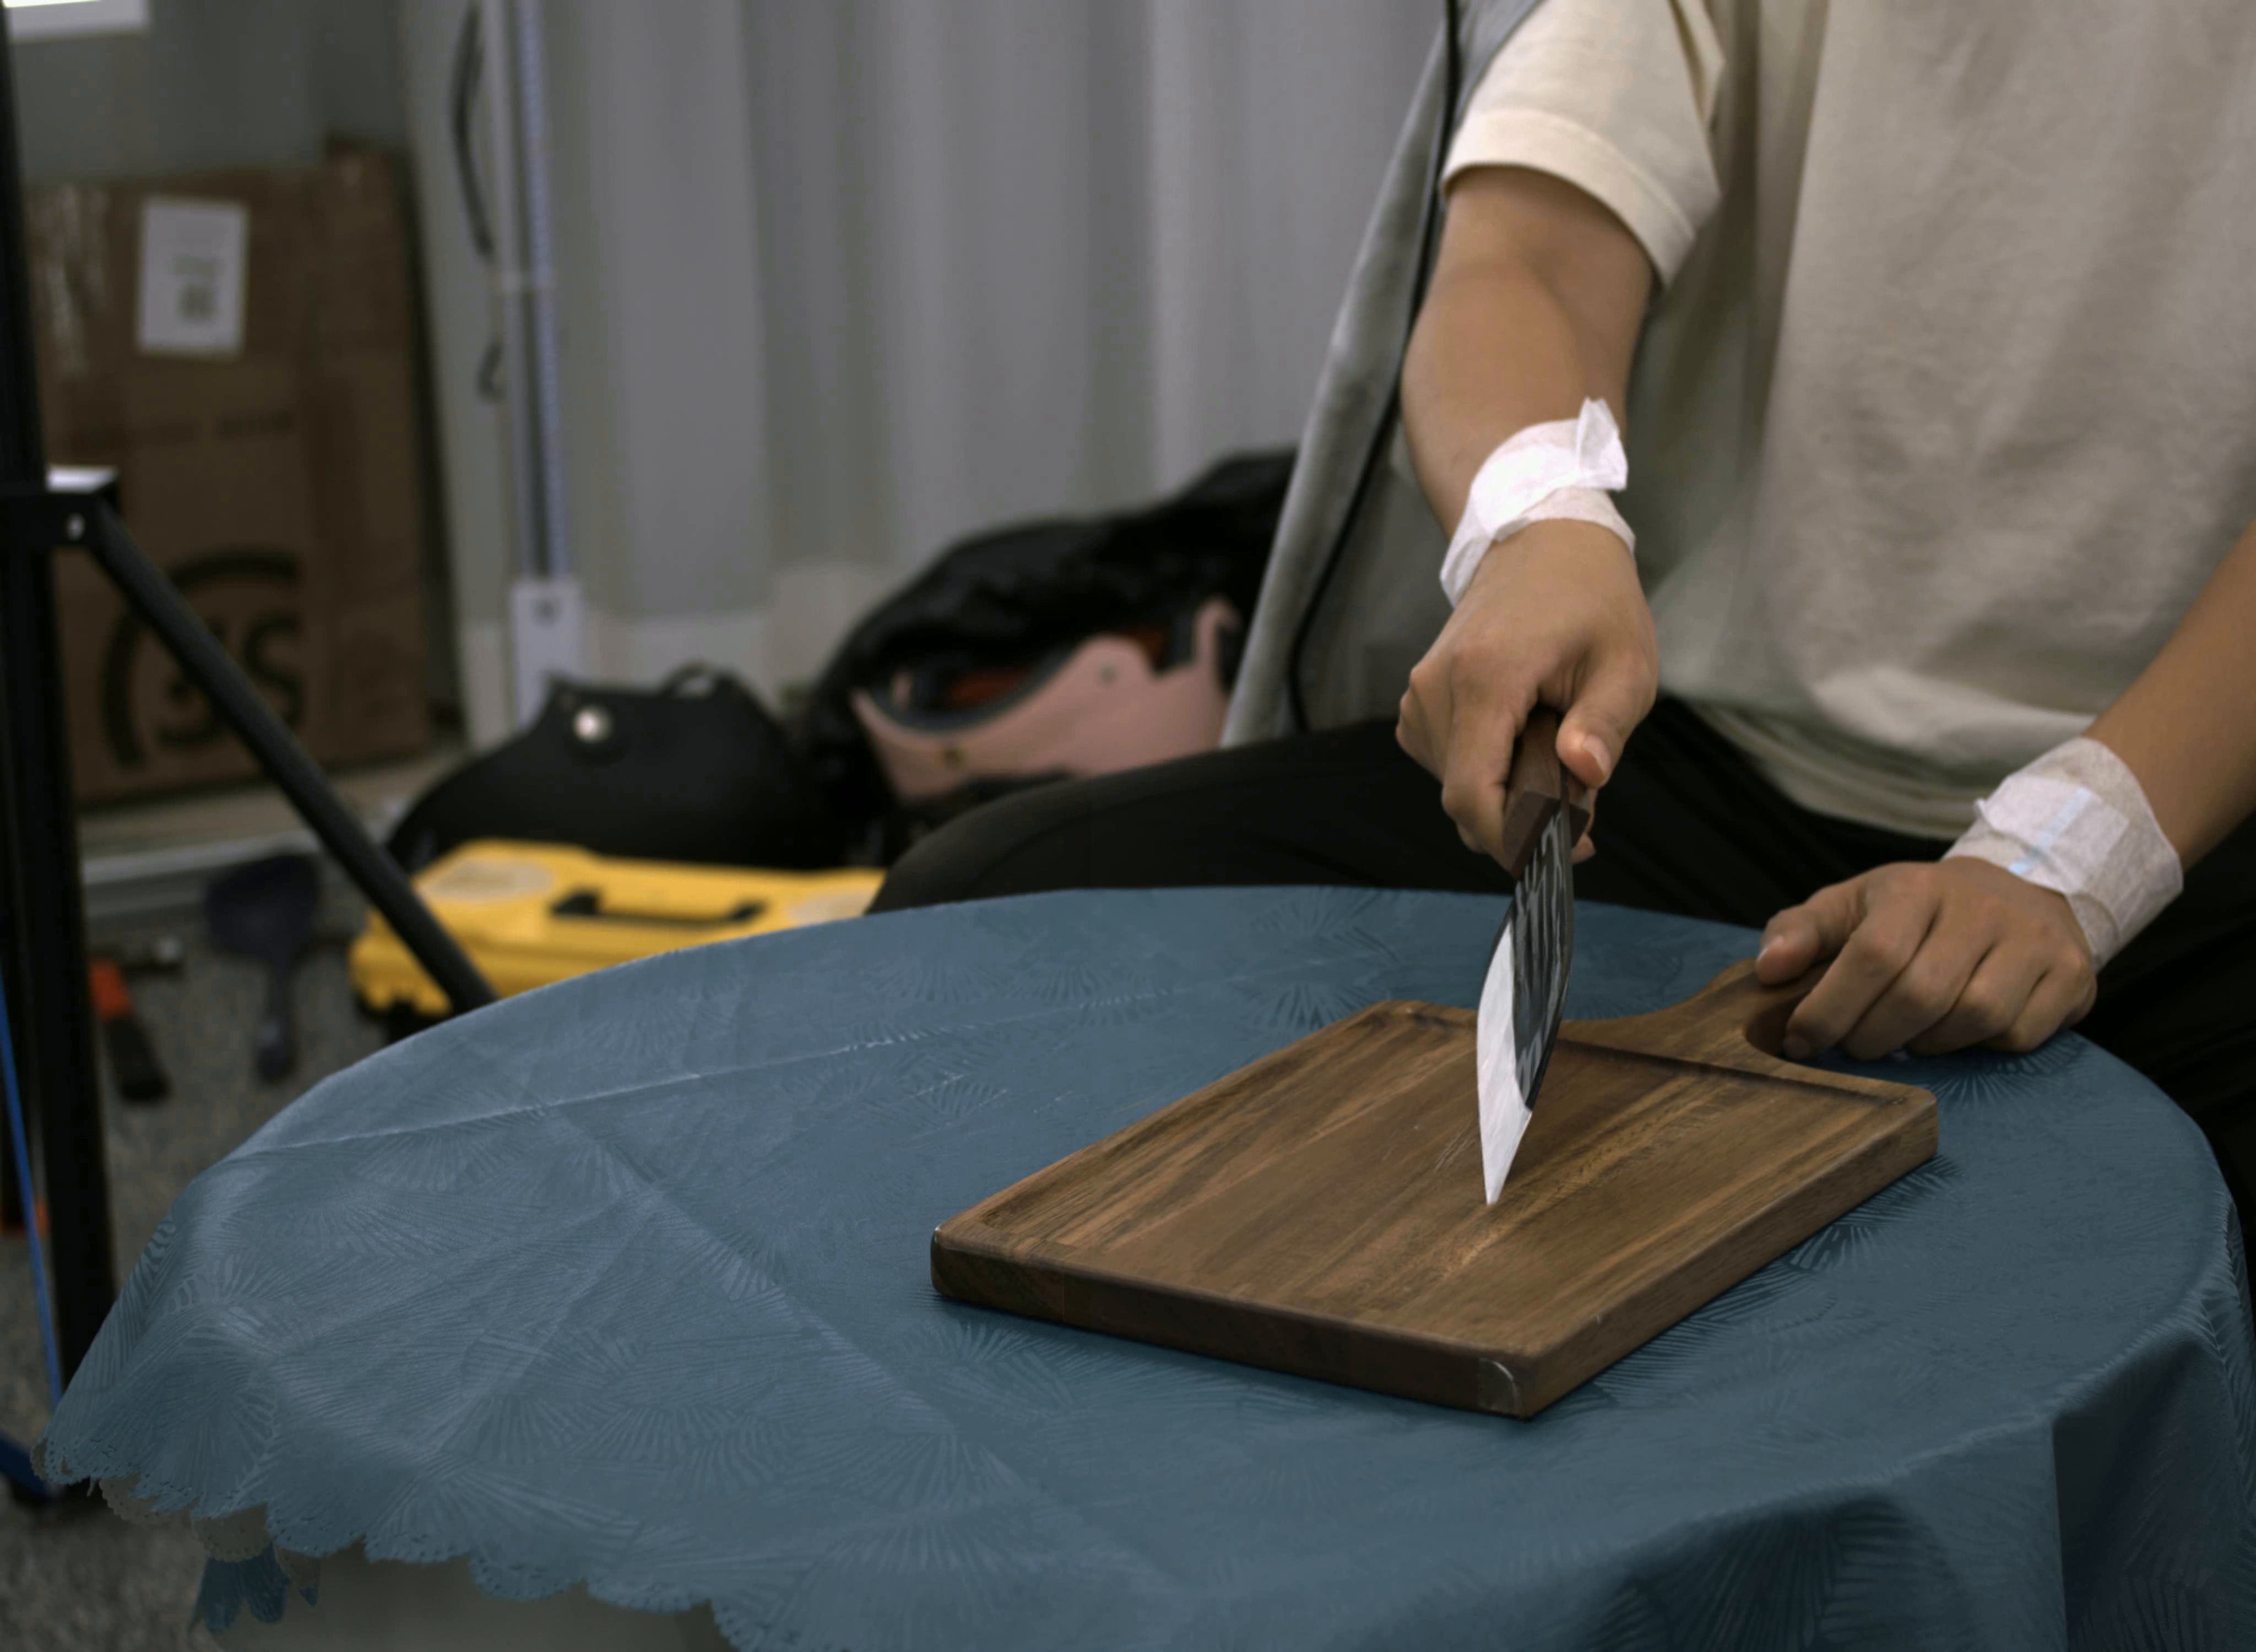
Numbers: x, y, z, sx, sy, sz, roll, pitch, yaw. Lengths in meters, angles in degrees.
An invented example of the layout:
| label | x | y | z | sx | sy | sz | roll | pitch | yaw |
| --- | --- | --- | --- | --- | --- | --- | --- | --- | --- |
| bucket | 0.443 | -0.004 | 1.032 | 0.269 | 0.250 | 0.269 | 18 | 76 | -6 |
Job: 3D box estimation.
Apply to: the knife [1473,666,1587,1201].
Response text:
| label | x | y | z | sx | sy | sz | roll | pitch | yaw |
| --- | --- | --- | --- | --- | --- | --- | --- | --- | --- |
| knife | 0.118 | 0.028 | 1.597 | 0.024 | 0.068 | 0.300 | 22 | 22 | -5 |

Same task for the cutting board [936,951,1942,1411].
| label | x | y | z | sx | sy | sz | roll | pitch | yaw |
| --- | --- | --- | --- | --- | --- | --- | --- | --- | --- |
| cutting board | 0.121 | 0.092 | 1.555 | 0.205 | 0.023 | 0.345 | 8 | 18 | 34 |
